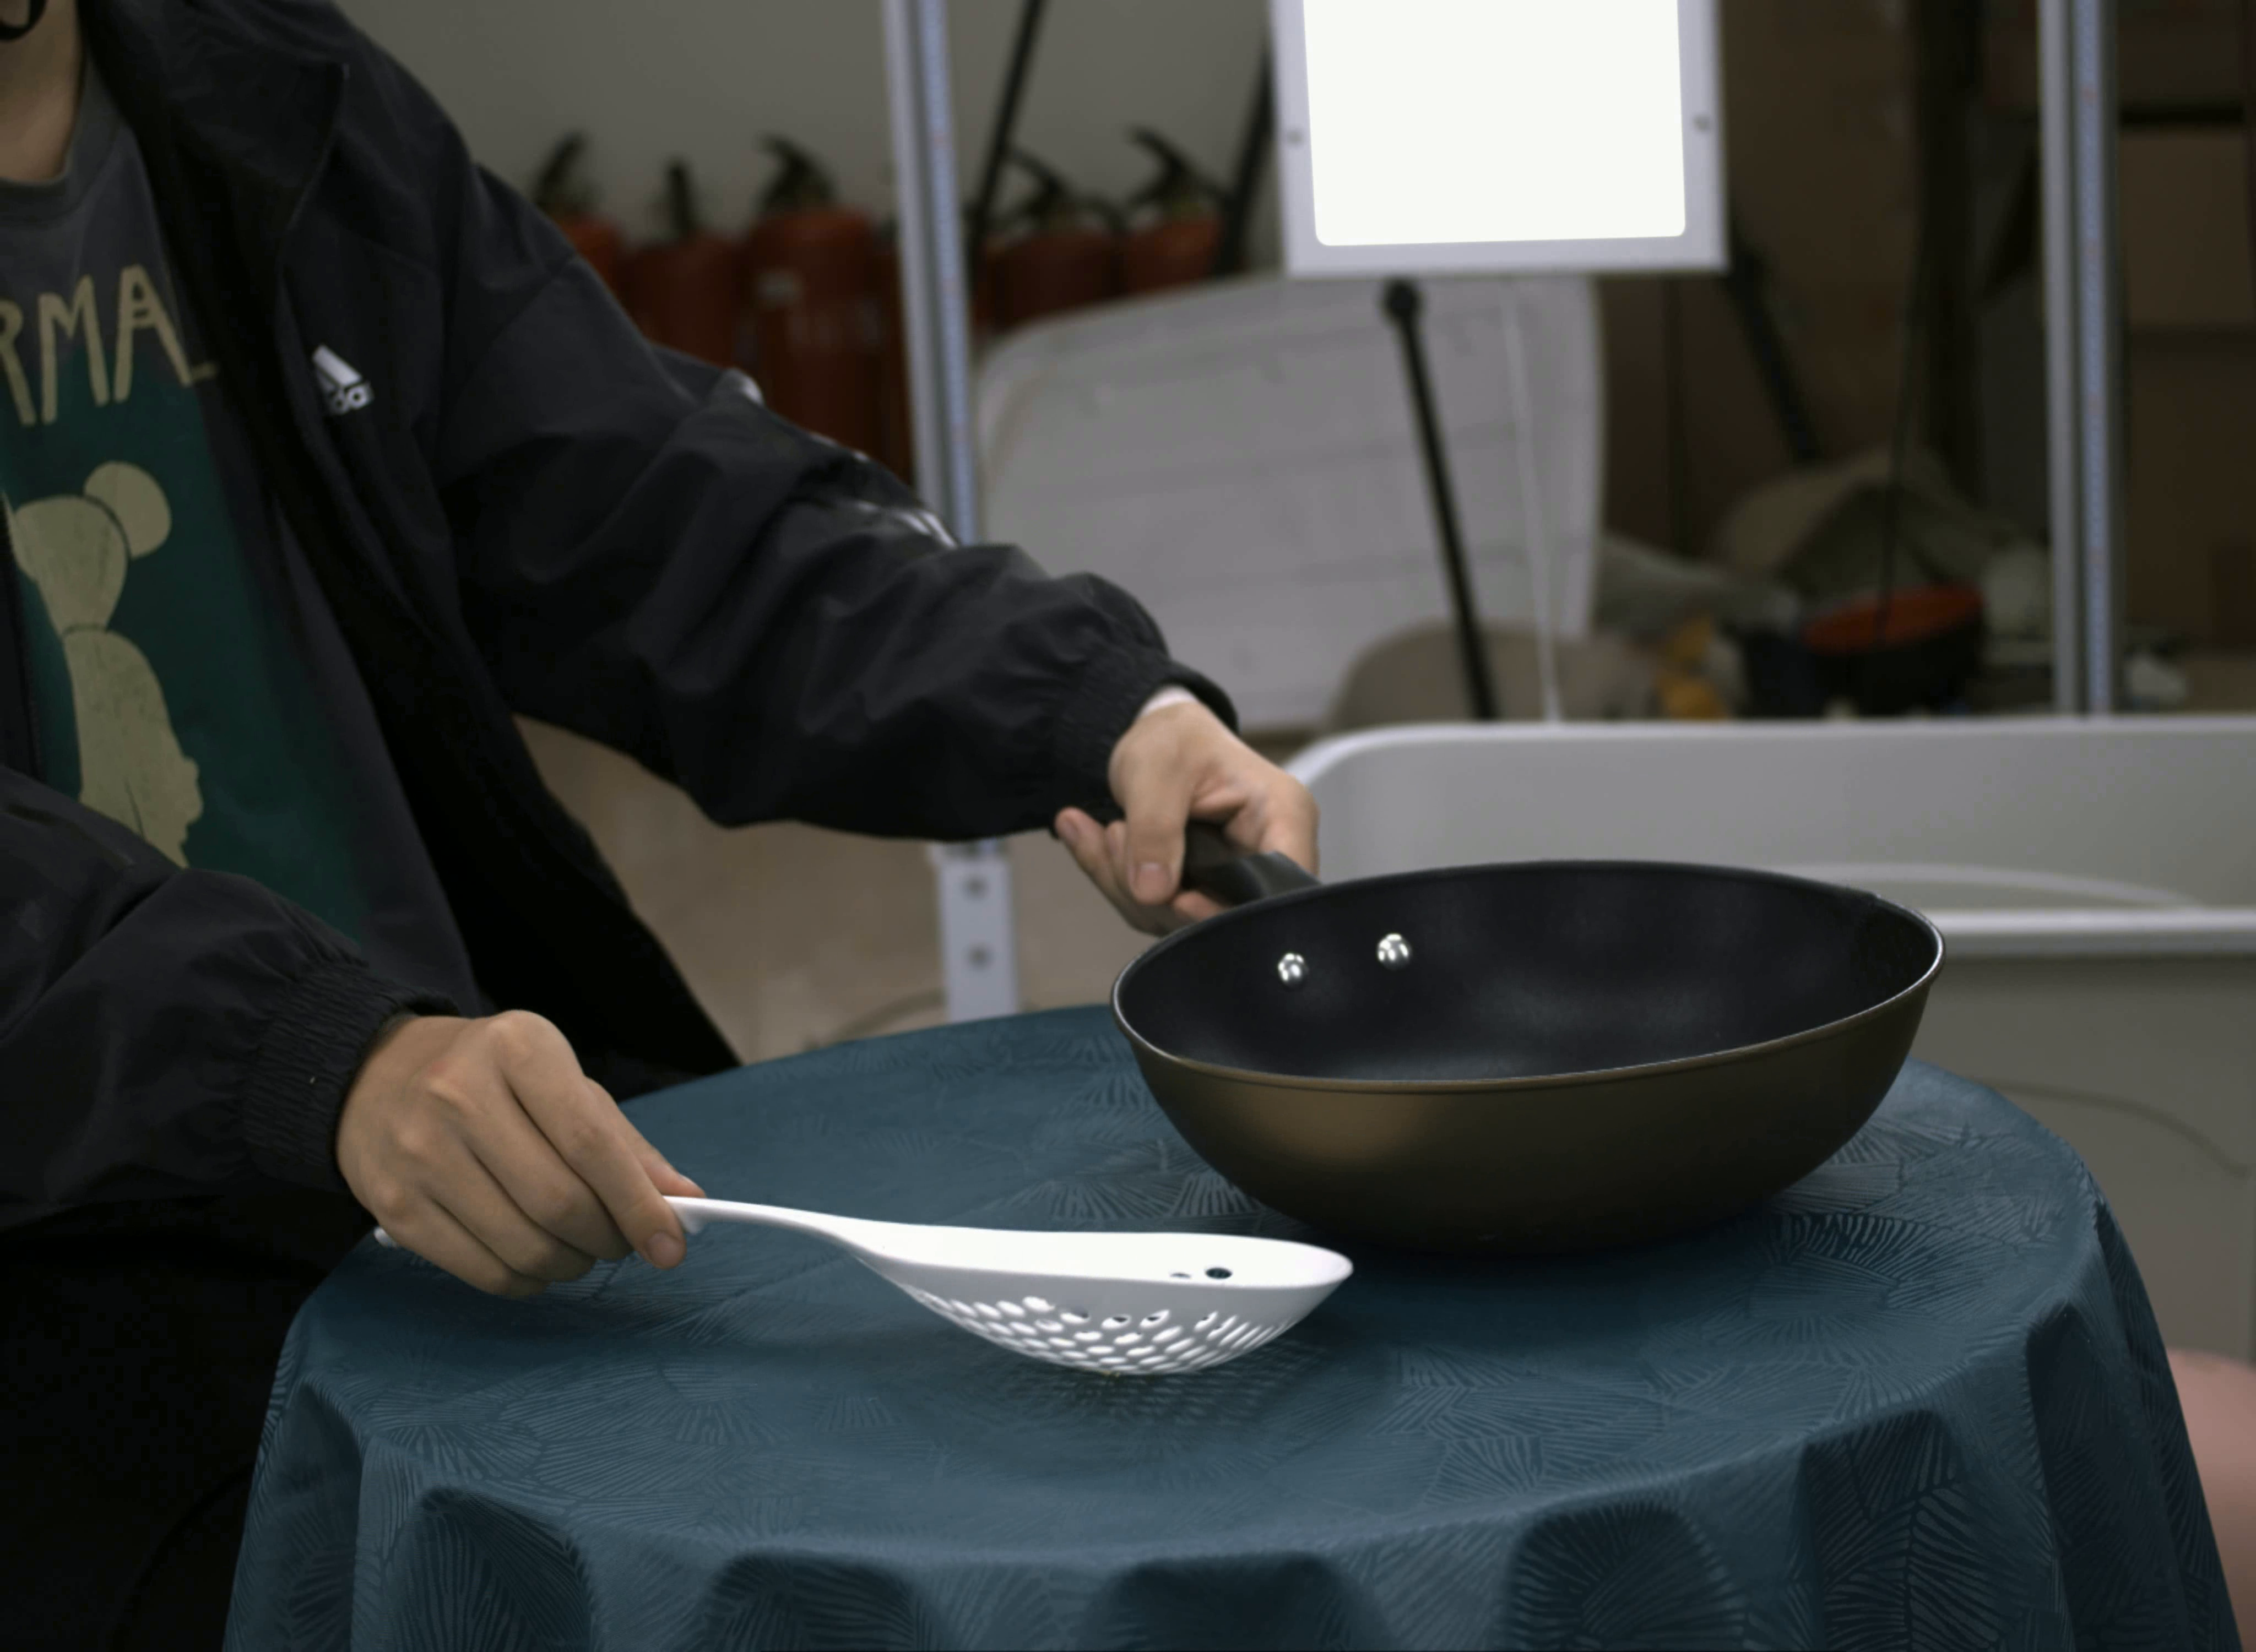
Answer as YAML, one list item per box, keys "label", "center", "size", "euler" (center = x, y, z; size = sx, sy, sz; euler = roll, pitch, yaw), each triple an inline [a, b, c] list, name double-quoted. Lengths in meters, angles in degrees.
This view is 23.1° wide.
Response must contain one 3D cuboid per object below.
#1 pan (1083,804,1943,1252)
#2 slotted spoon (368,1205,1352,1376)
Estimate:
- label: "pan"
  center: [0.093, 0.067, 1.930]
  size: [0.282, 0.087, 0.471]
  euler: [-11, 14, -25]
- label: "slotted spoon"
  center: [-0.095, 0.138, 1.761]
  size: [0.354, 0.050, 0.134]
  euler: [7, 5, 31]
